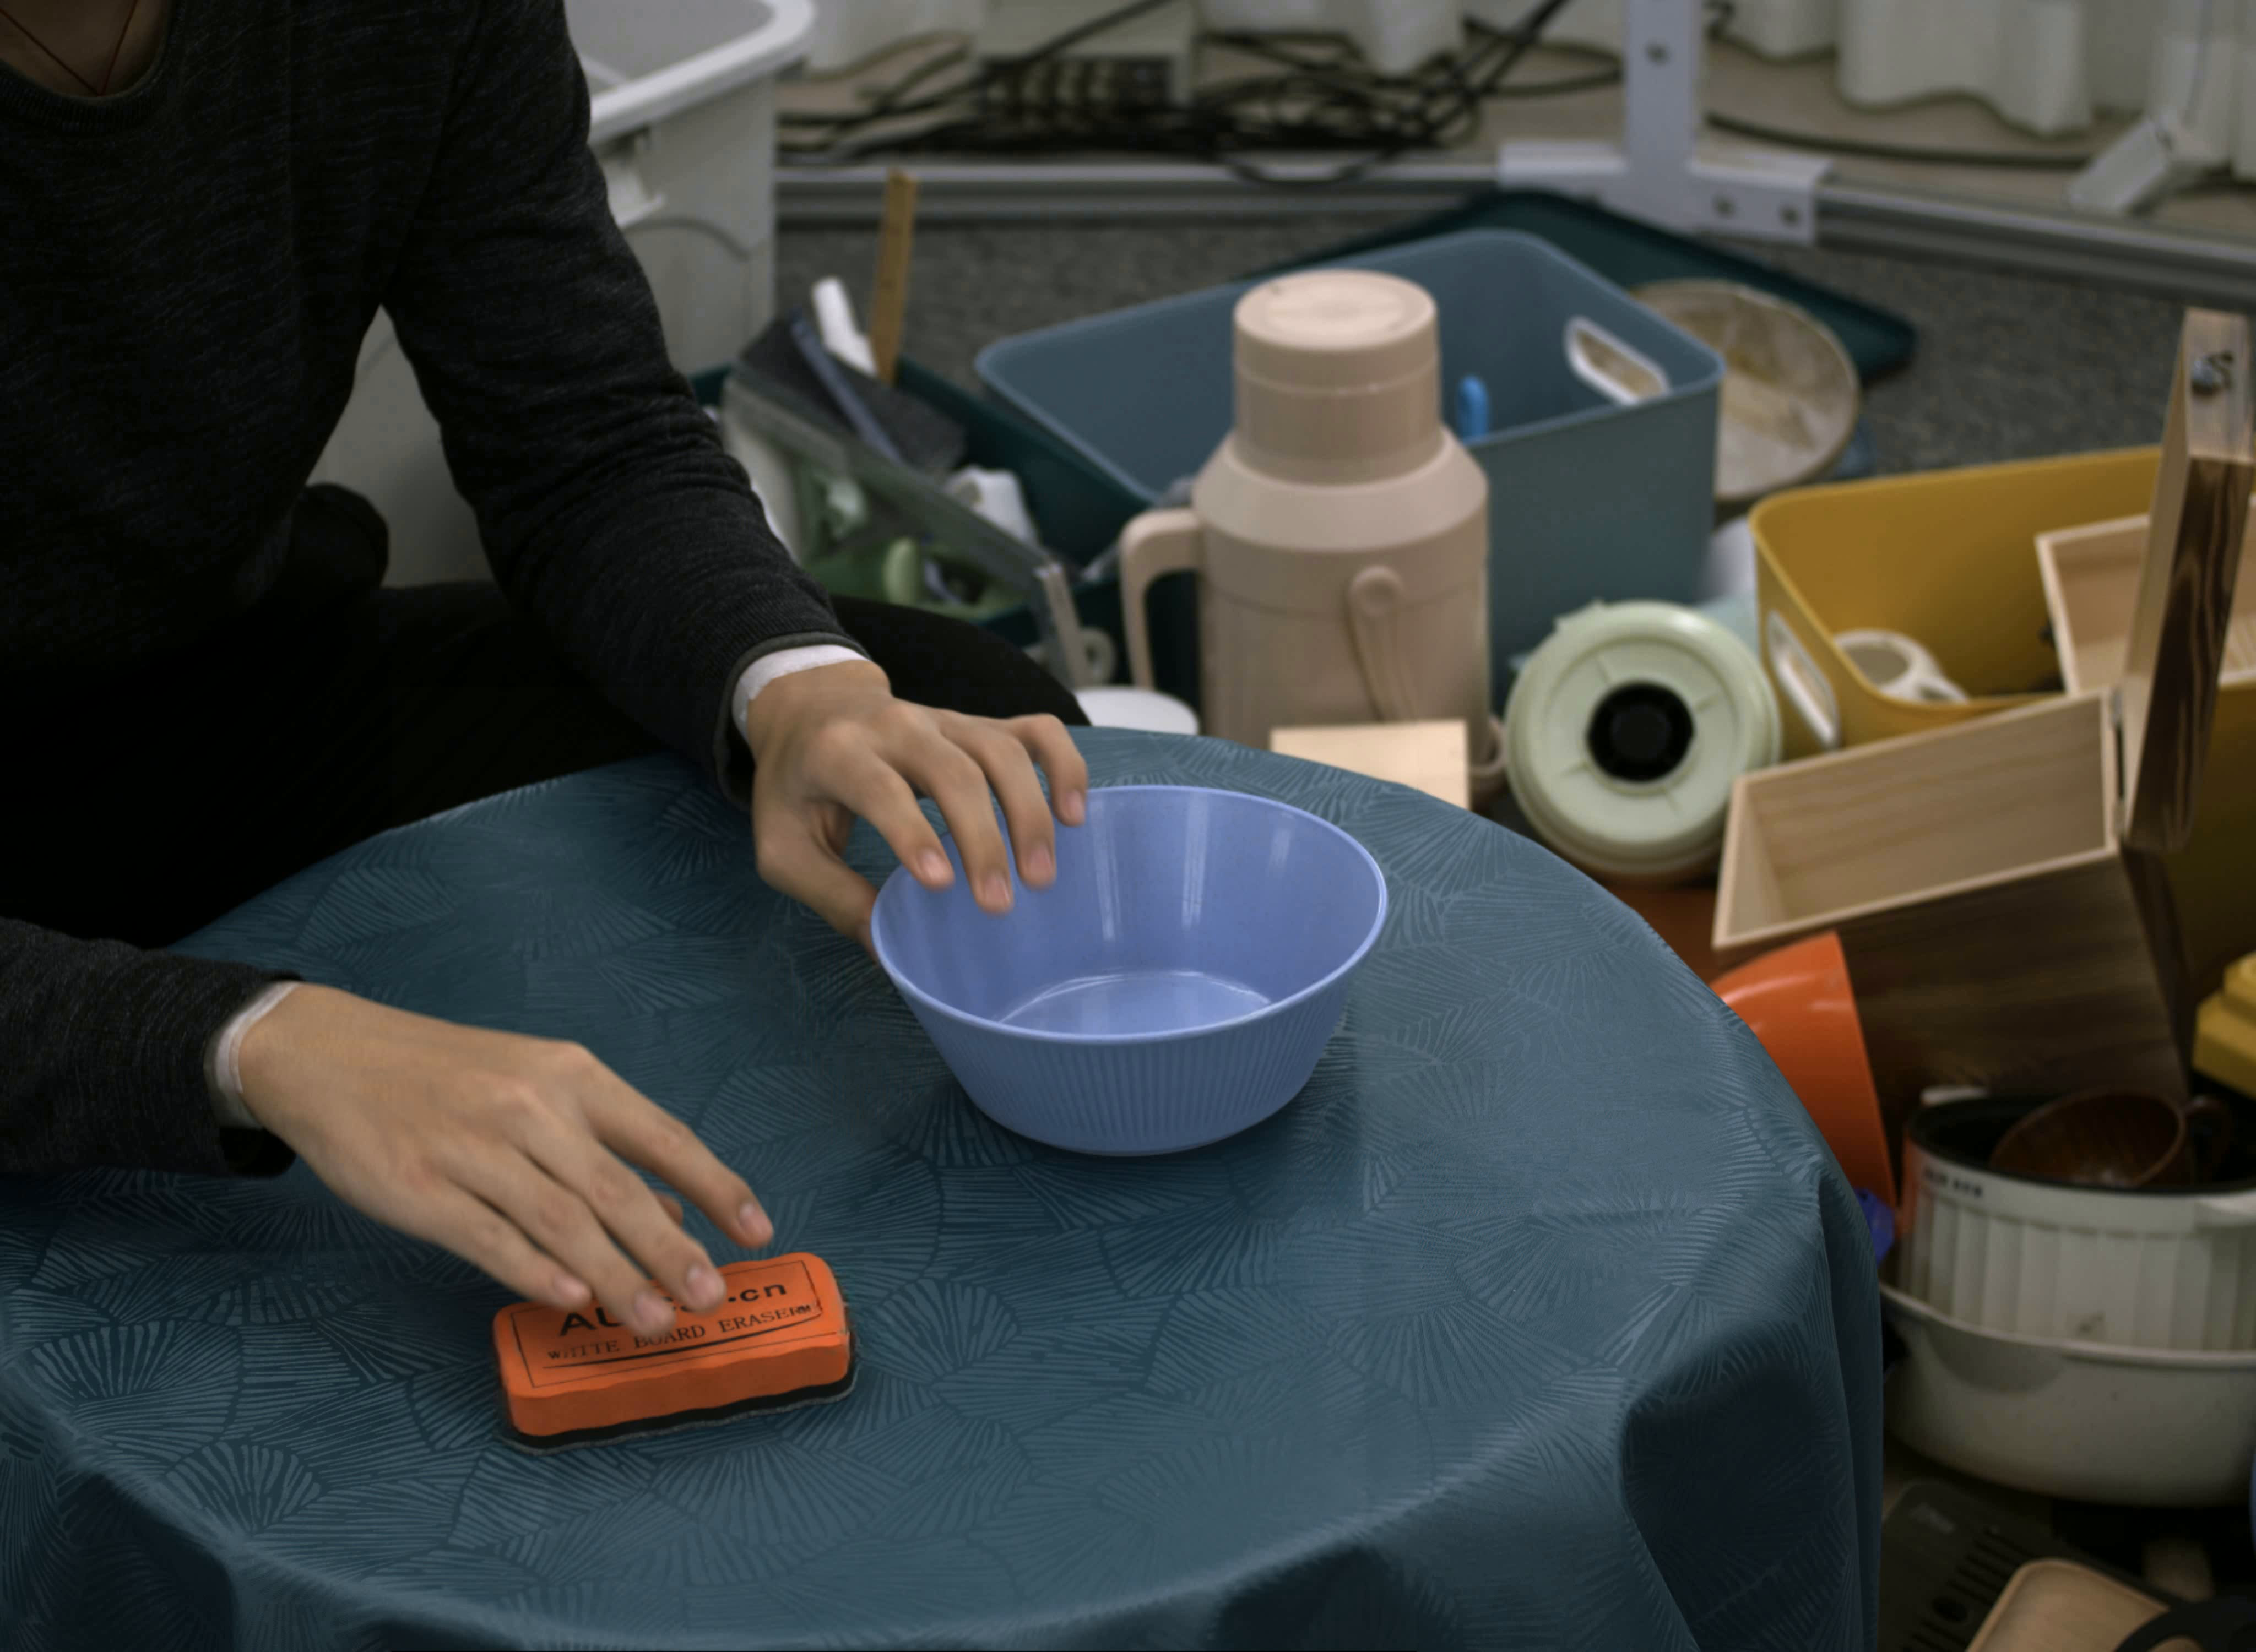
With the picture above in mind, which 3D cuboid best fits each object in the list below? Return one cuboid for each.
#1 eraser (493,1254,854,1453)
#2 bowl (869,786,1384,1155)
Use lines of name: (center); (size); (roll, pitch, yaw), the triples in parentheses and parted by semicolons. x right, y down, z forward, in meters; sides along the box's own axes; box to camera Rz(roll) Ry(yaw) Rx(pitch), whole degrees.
eraser: (-0.143, 0.166, 1.764); (0.108, 0.022, 0.059); (-10, 29, -11)
bowl: (0.001, 0.055, 1.915); (0.175, 0.069, 0.179); (-2, 28, 2)
